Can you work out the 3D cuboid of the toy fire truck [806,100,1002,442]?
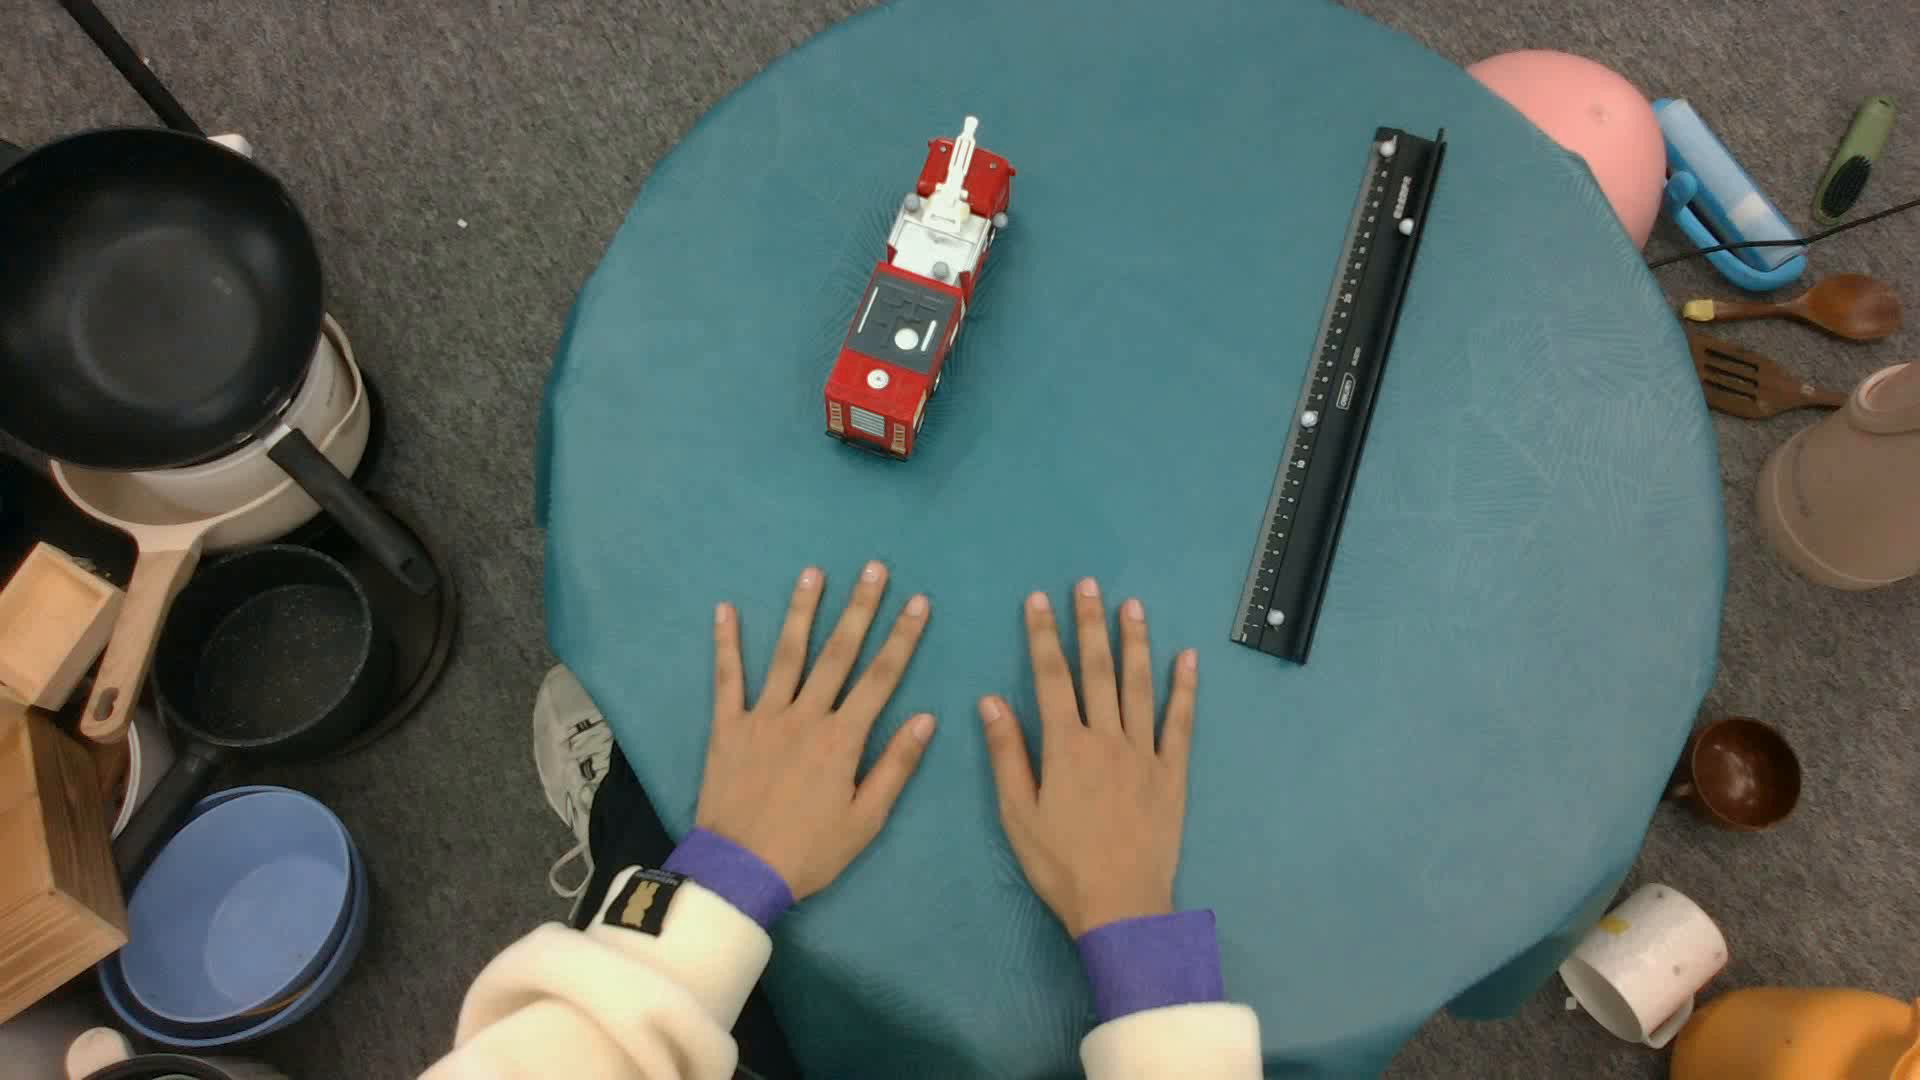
[{"bbox_3d":[-0.028,-0.134,0.691,0.054,0.070,0.168,19,73,3],"label":"toy fire truck"}]

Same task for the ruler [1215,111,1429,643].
[{"bbox_3d":[0.193,-0.097,0.714,0.039,0.017,0.313,18,72,6],"label":"ruler"}]
